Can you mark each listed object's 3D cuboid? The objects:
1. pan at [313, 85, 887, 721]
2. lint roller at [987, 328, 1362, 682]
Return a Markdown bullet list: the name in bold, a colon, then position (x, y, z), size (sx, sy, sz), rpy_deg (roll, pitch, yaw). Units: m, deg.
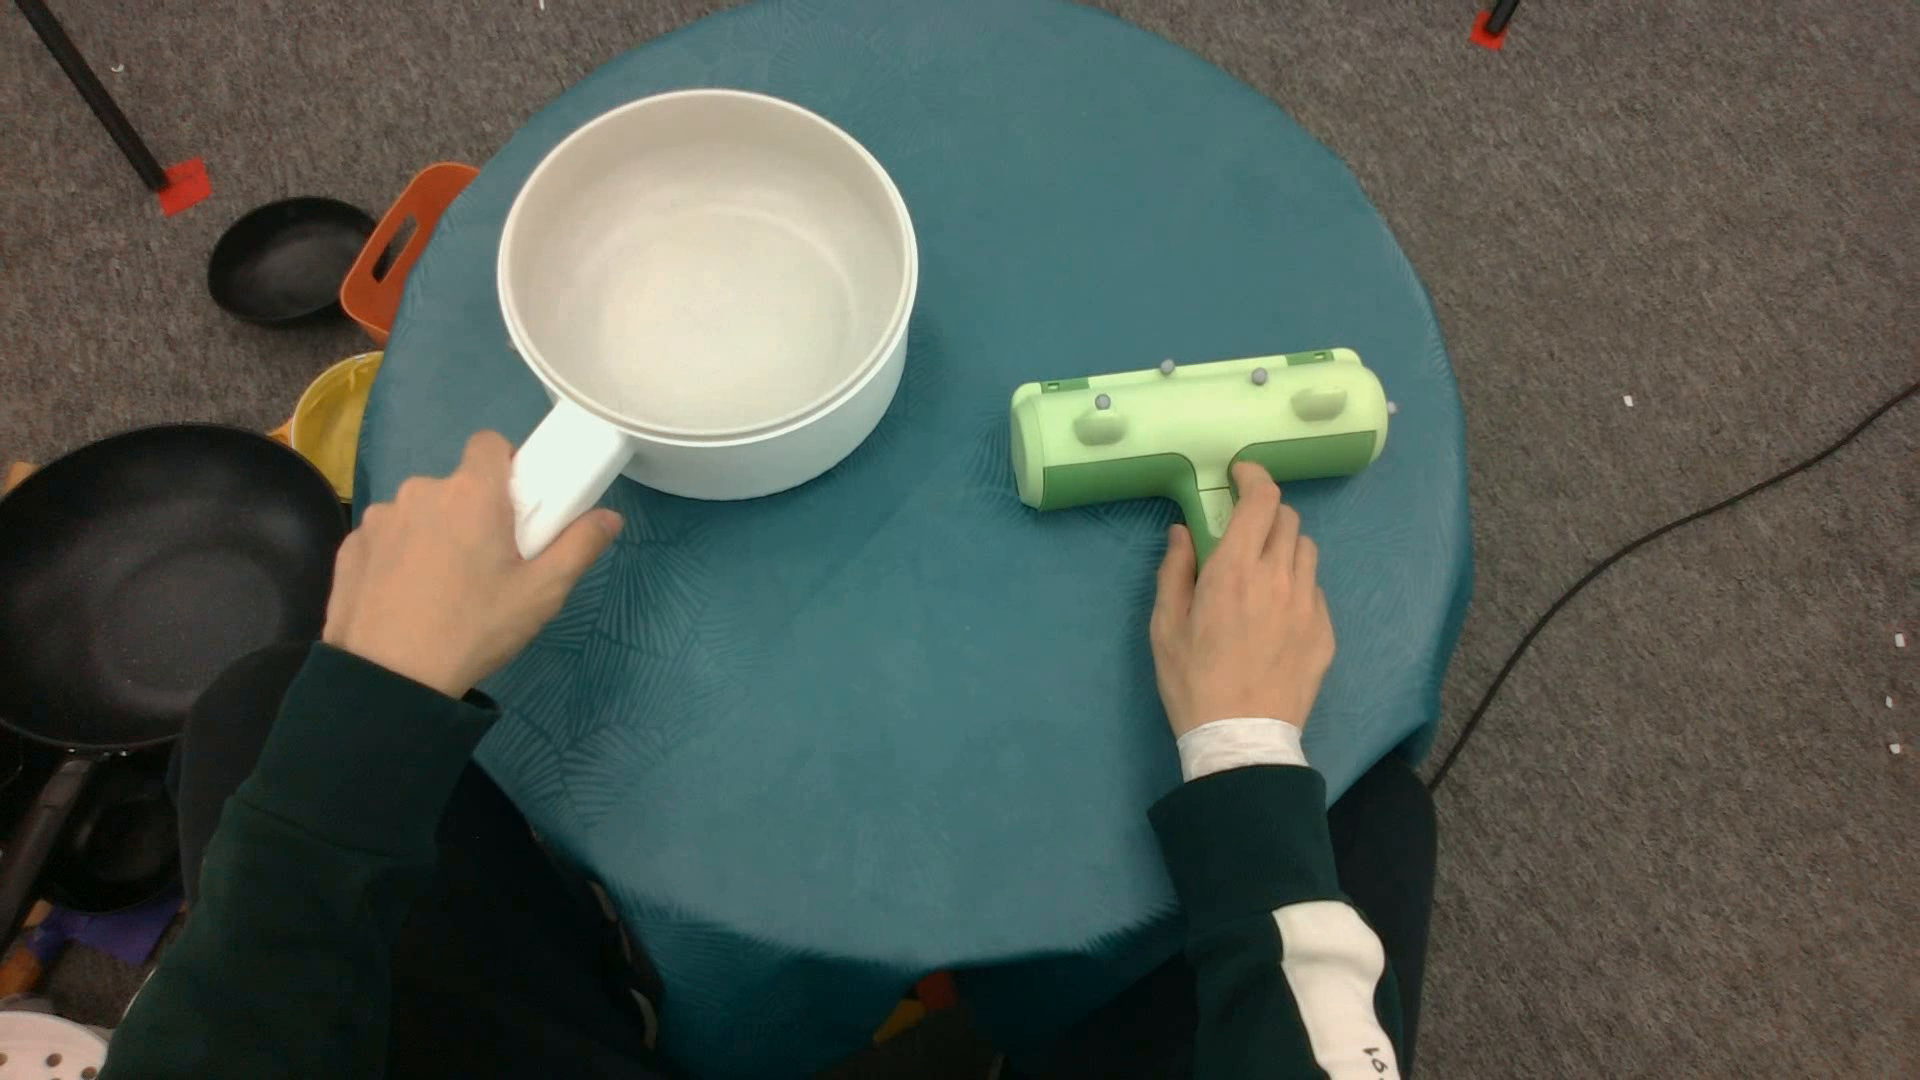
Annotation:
- **pan**: position (-0.176, -0.062, 0.686), size (0.201, 0.101, 0.356), rpy_deg (29, 69, 6)
- **lint roller**: position (0.125, -0.024, 0.703), size (0.199, 0.082, 0.184), rpy_deg (-8, 62, -8)
